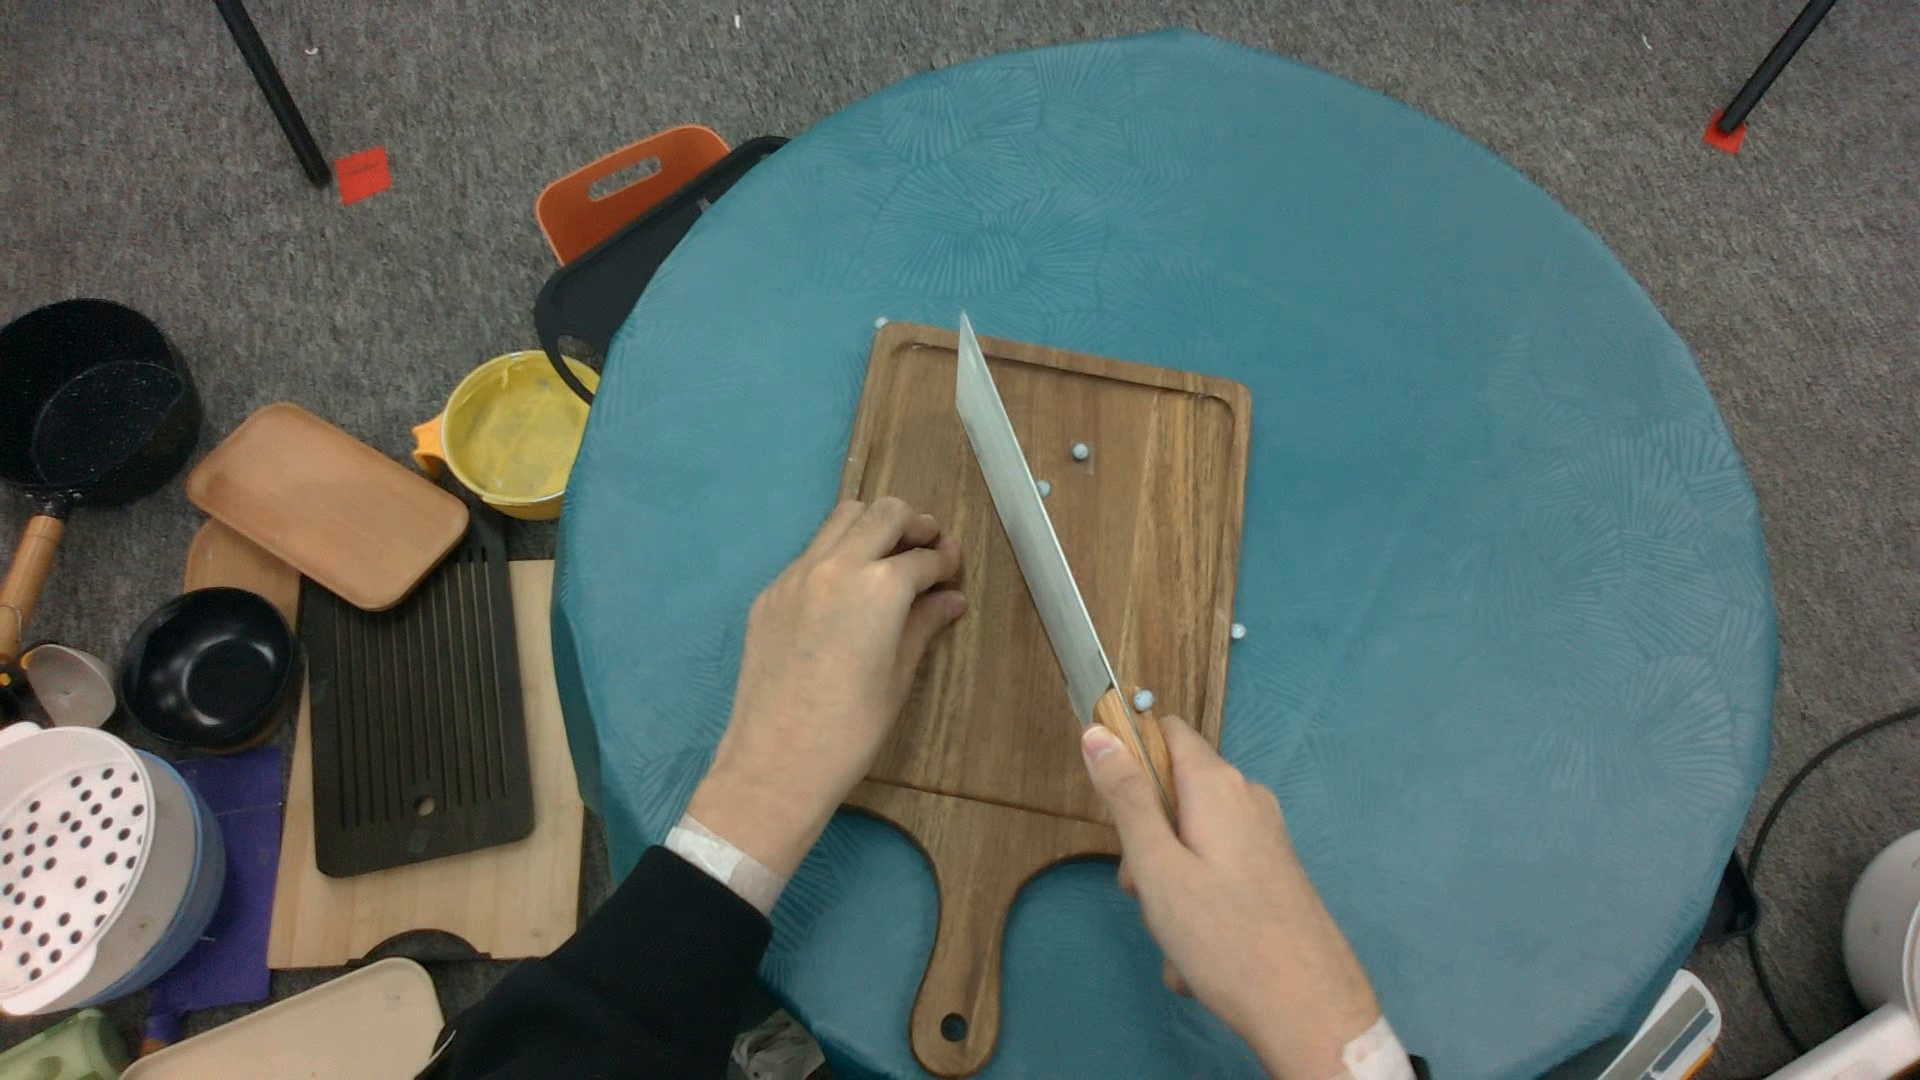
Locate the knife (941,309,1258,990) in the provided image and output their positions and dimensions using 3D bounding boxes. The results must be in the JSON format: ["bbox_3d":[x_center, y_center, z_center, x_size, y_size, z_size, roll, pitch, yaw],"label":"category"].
[{"bbox_3d":[0.047,0.043,0.583,0.021,0.092,0.306,-18,67,-10],"label":"knife"}]

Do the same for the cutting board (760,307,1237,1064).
[{"bbox_3d":[0.017,0.057,0.642,0.201,0.023,0.353,10,69,2],"label":"cutting board"}]
